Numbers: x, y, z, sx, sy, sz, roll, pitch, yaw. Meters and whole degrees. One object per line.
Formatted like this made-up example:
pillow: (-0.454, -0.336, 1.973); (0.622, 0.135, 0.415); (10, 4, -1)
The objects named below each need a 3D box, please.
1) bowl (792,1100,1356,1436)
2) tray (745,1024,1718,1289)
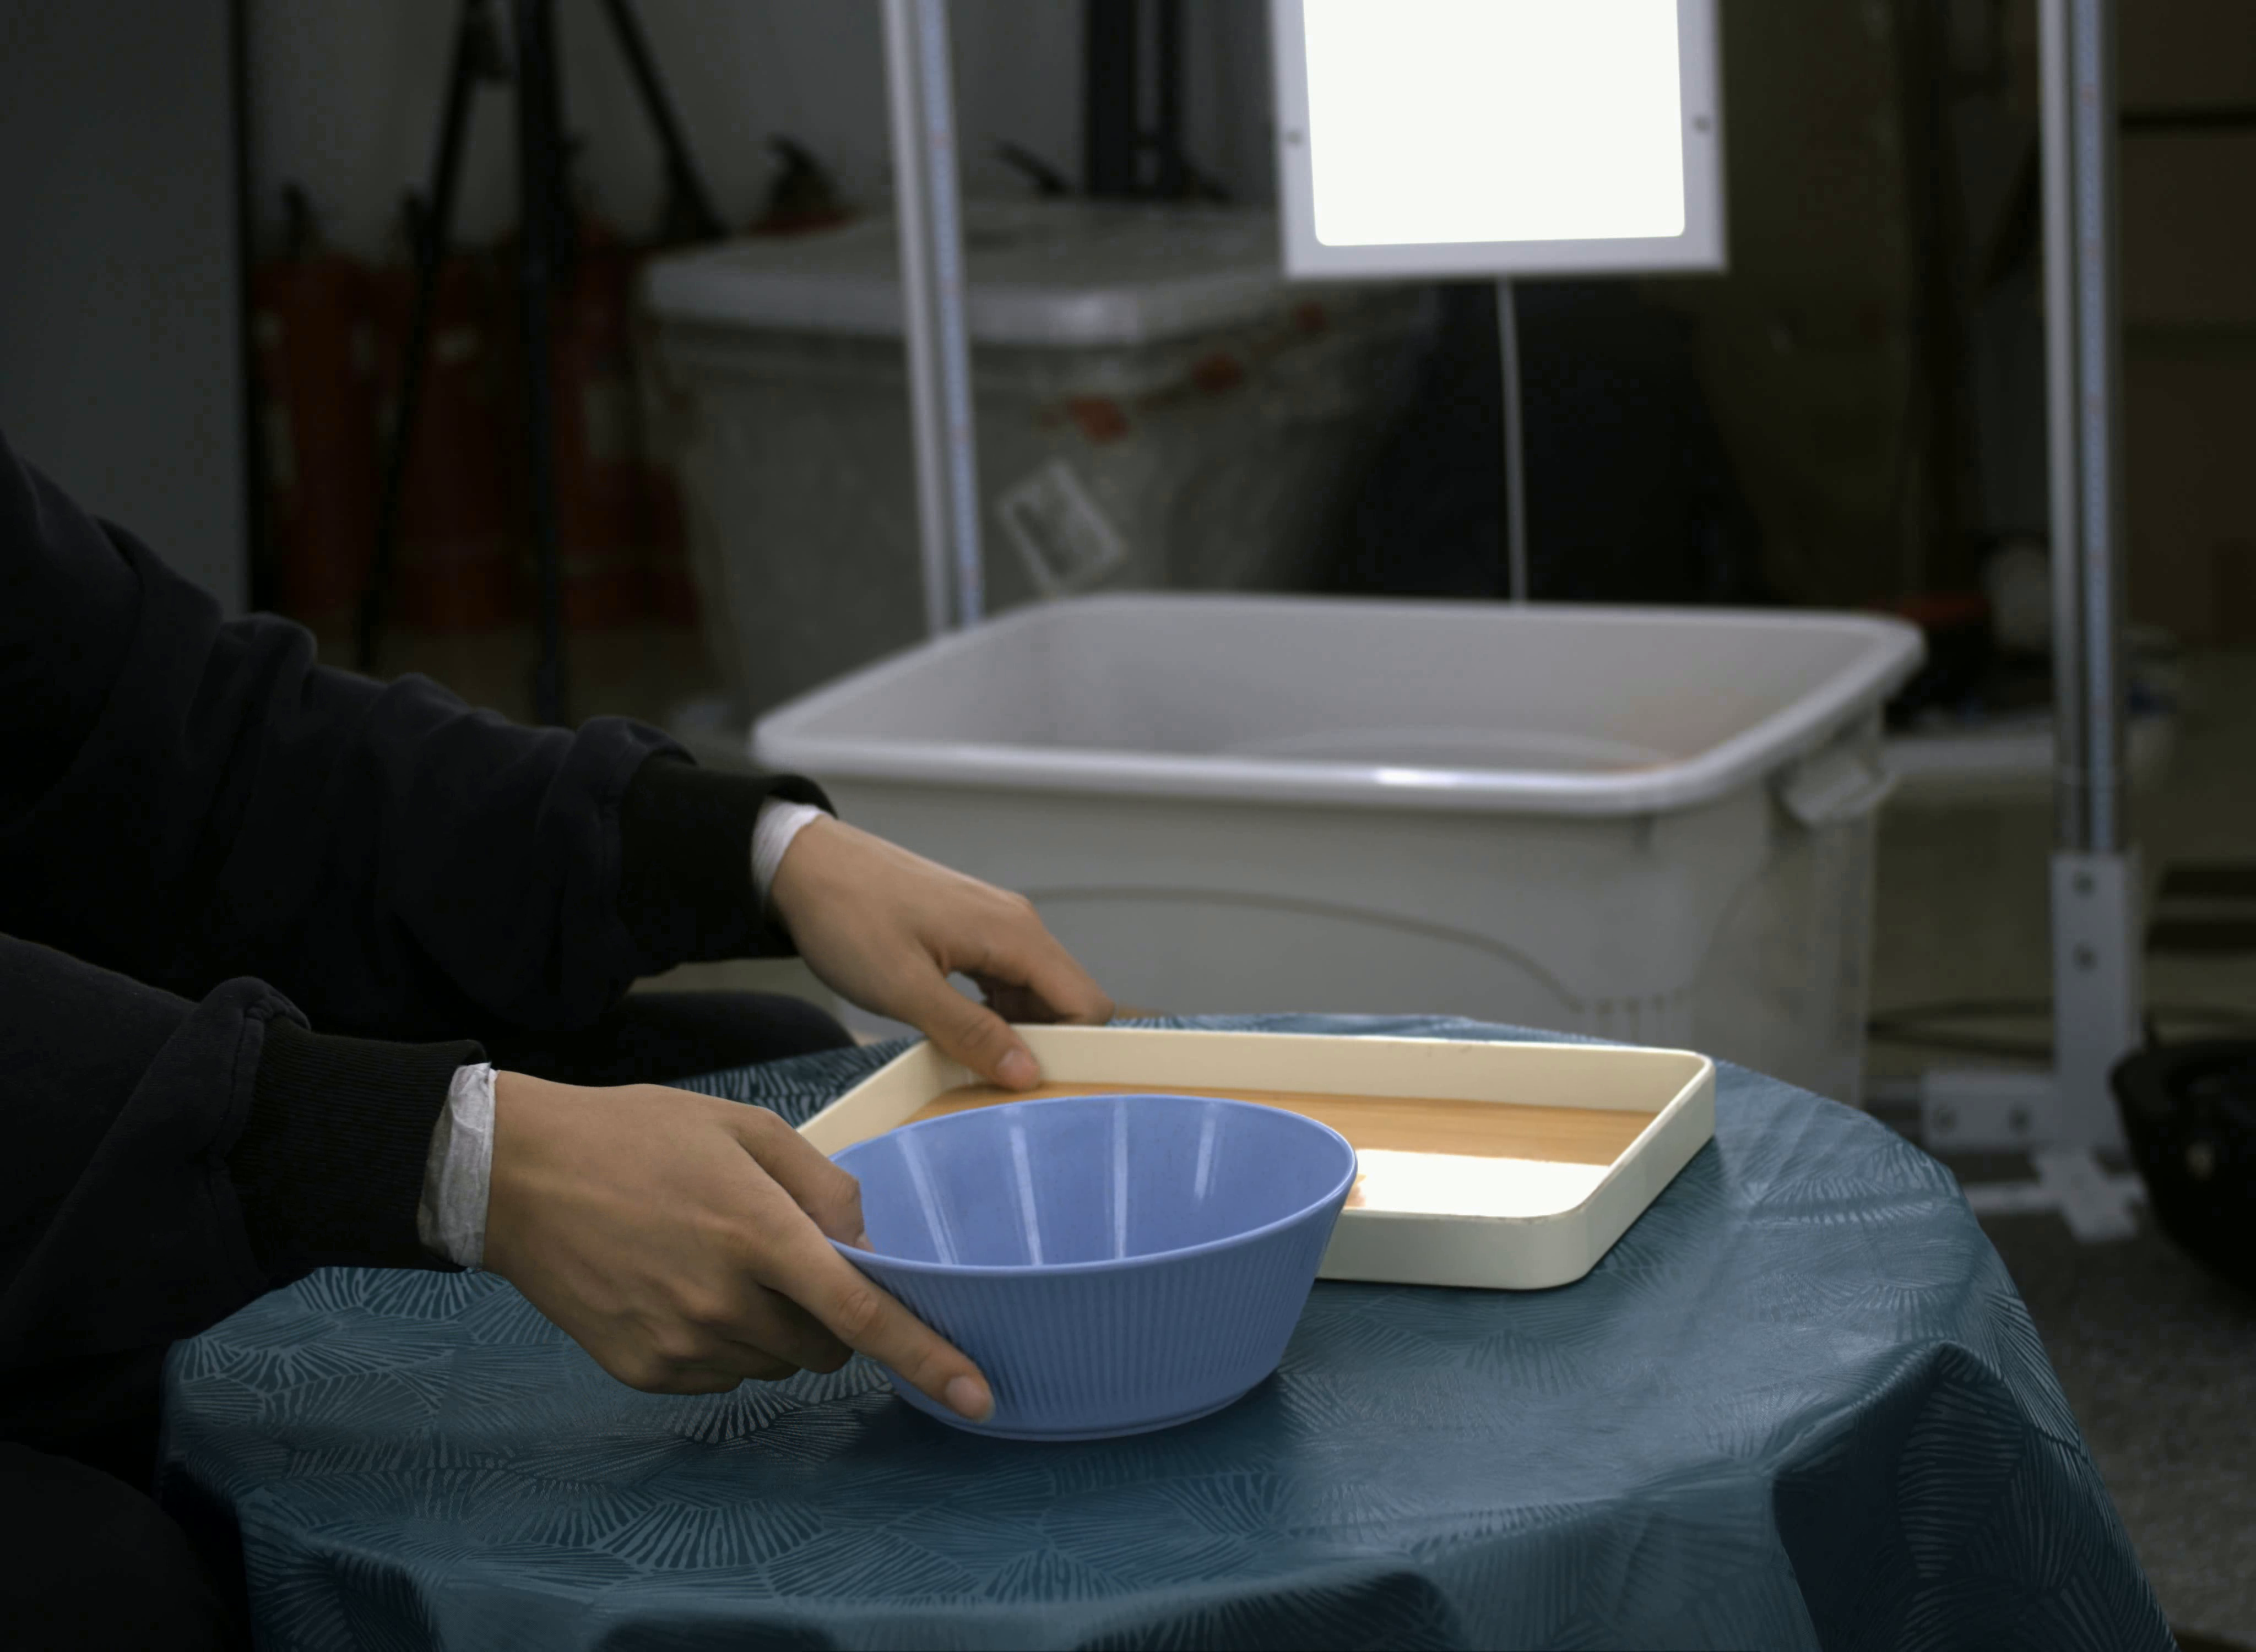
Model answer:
bowl: (-0.014, 0.139, 1.702); (0.175, 0.070, 0.176); (-5, 12, 0)
tray: (0.038, 0.111, 1.891); (0.305, 0.027, 0.188); (1, 15, 24)
